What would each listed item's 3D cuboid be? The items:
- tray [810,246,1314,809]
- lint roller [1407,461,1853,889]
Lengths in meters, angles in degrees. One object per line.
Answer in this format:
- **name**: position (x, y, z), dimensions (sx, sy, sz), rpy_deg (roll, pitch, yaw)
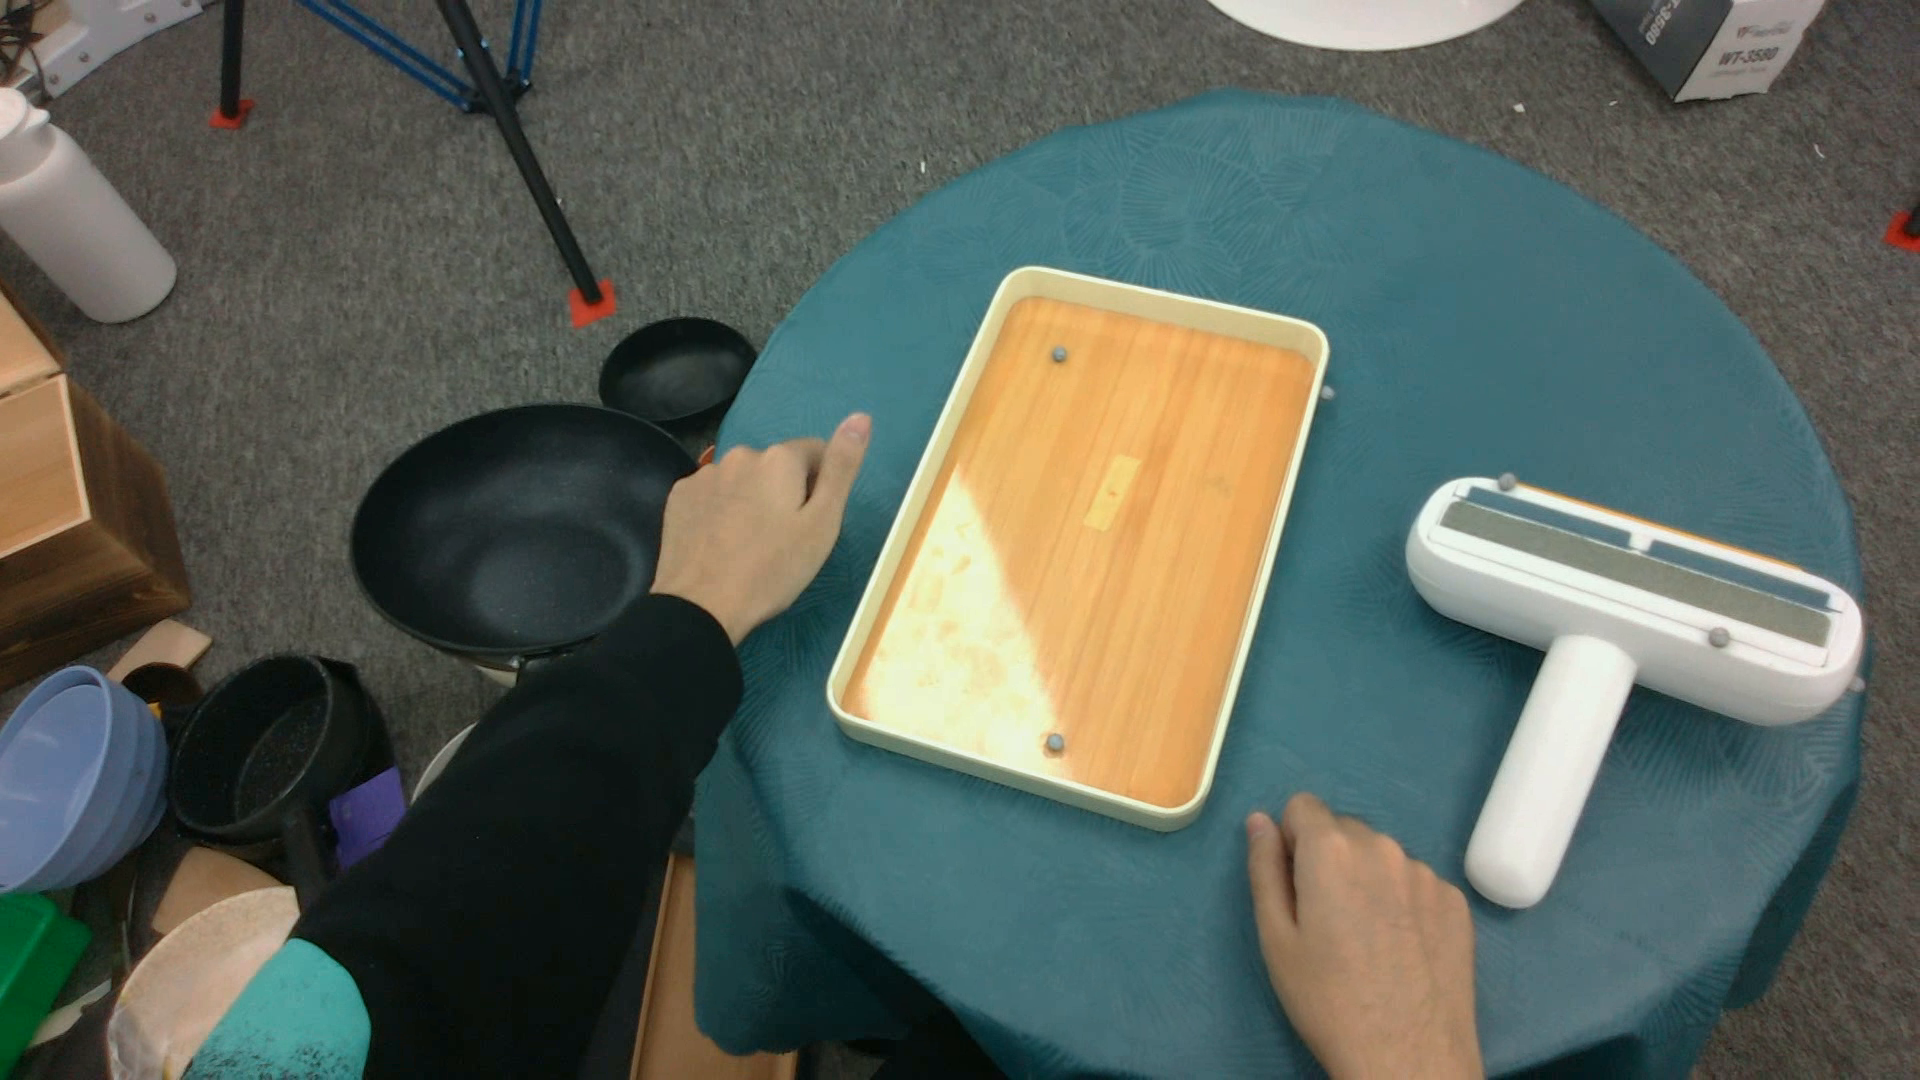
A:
- **tray**: position (0.061, -0.022, 0.719), dimensions (0.191, 0.027, 0.301), rpy_deg (15, 61, 14)
- **lint roller**: position (0.274, 0.067, 0.627), dimensions (0.193, 0.074, 0.193), rpy_deg (27, 66, 25)
